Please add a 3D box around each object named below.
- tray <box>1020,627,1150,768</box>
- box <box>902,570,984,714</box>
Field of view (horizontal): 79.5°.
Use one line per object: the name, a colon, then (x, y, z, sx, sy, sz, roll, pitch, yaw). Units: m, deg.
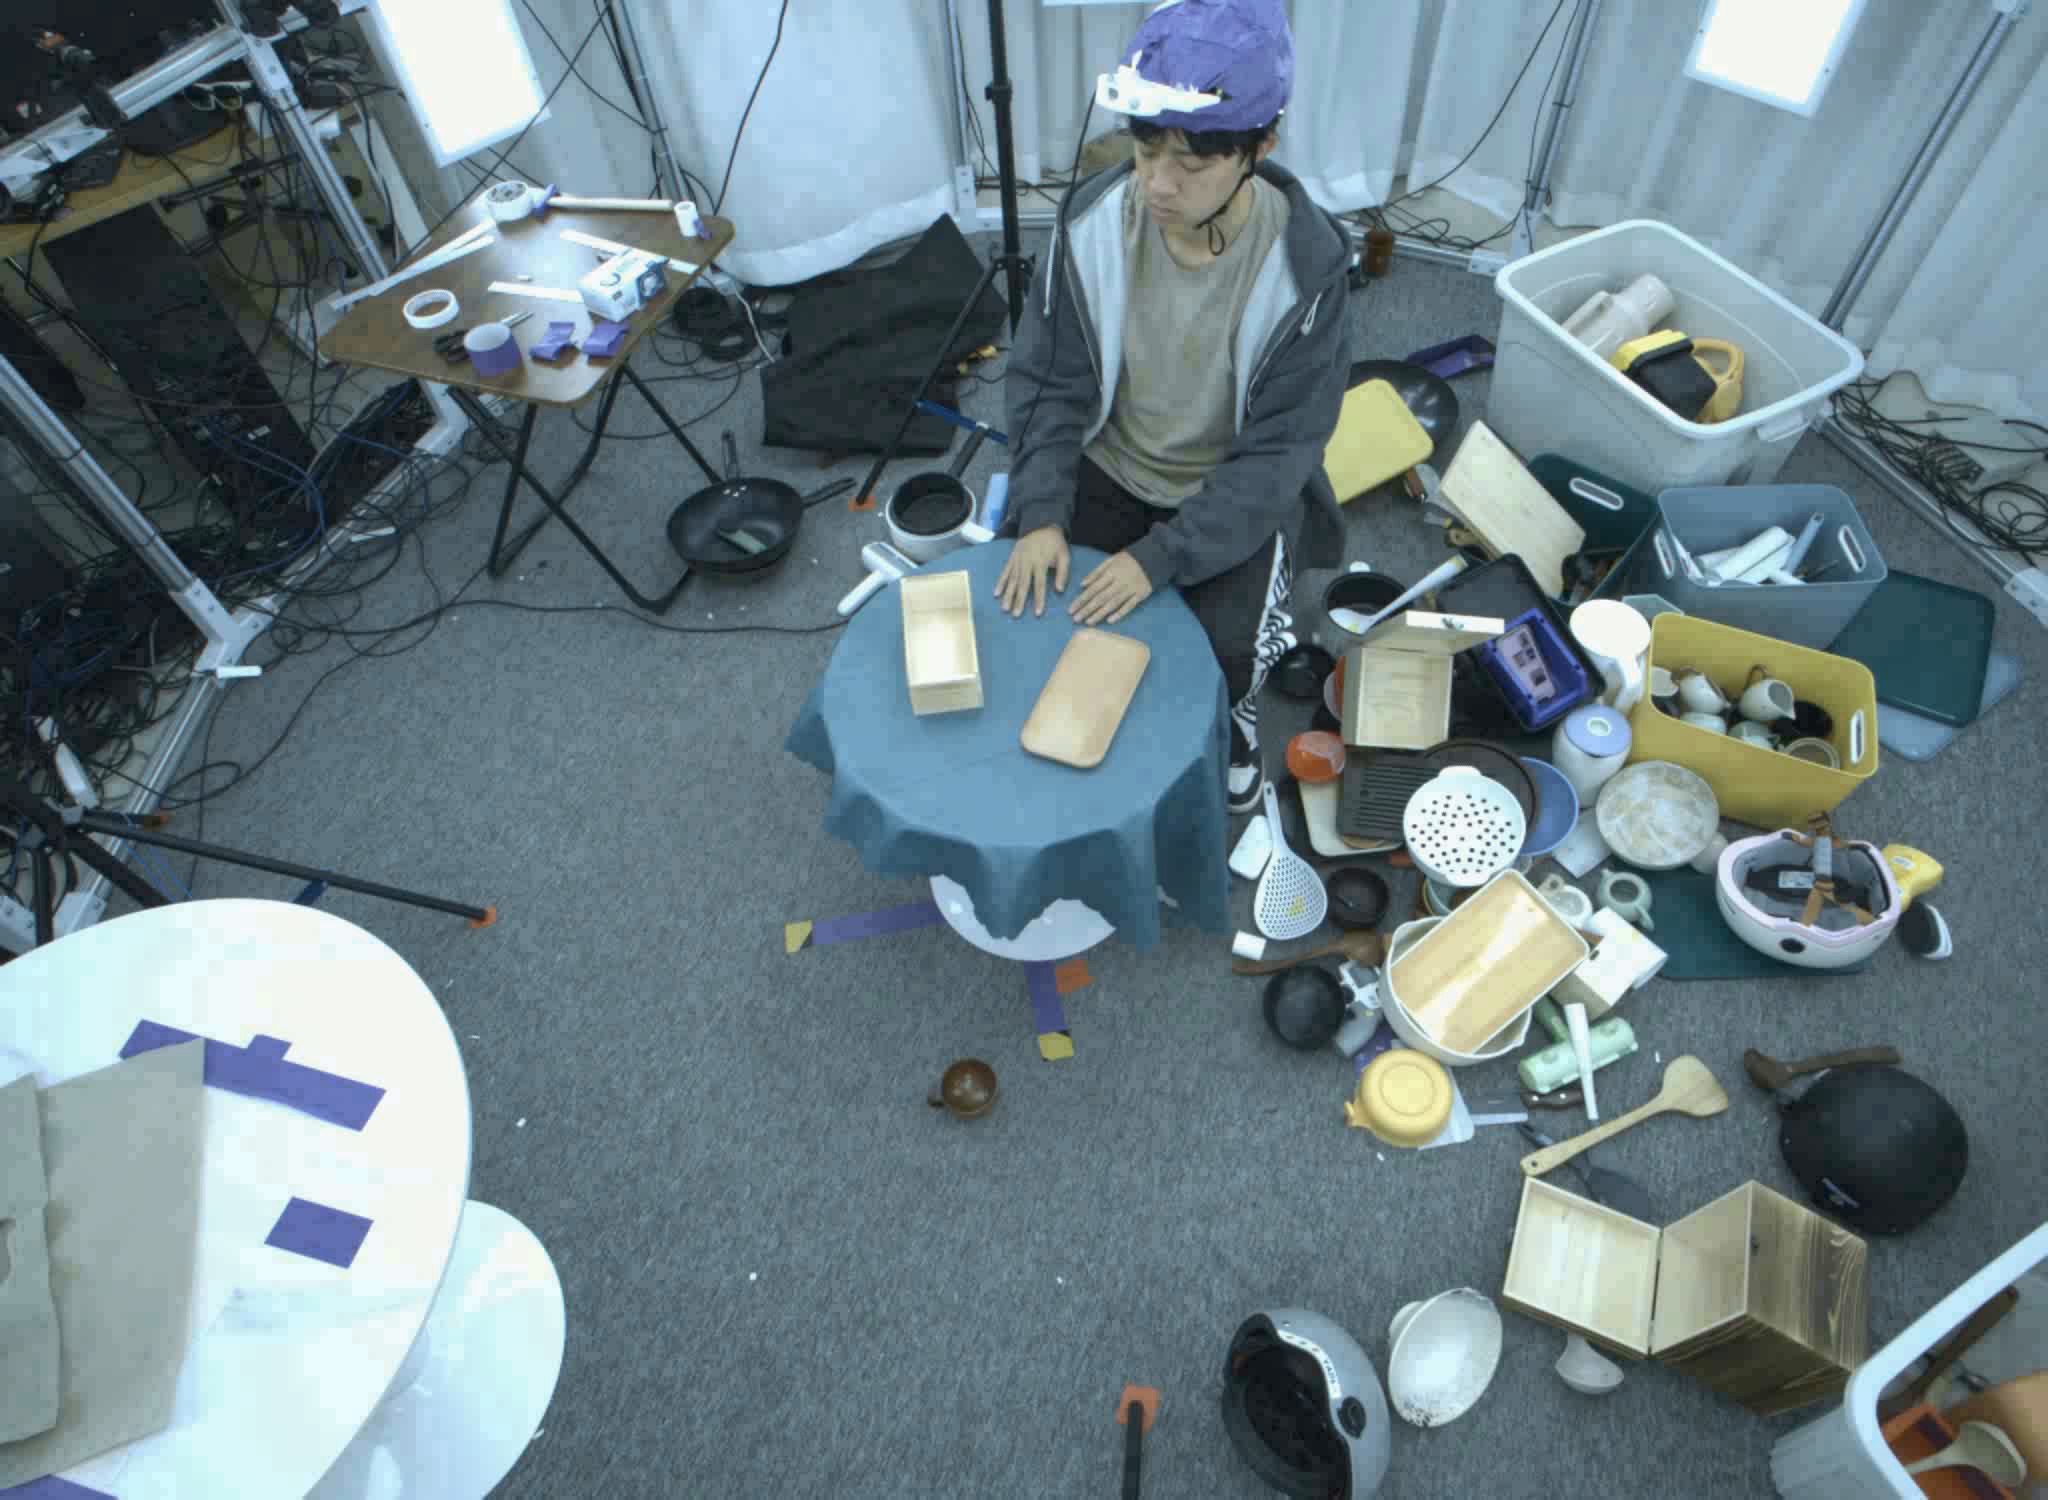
tray: (0.093, -0.081, 1.834, 0.129, 0.023, 0.251, 20, 57, 12)
box: (-0.125, -0.166, 1.863, 0.108, 0.081, 0.208, -7, 54, -2)
